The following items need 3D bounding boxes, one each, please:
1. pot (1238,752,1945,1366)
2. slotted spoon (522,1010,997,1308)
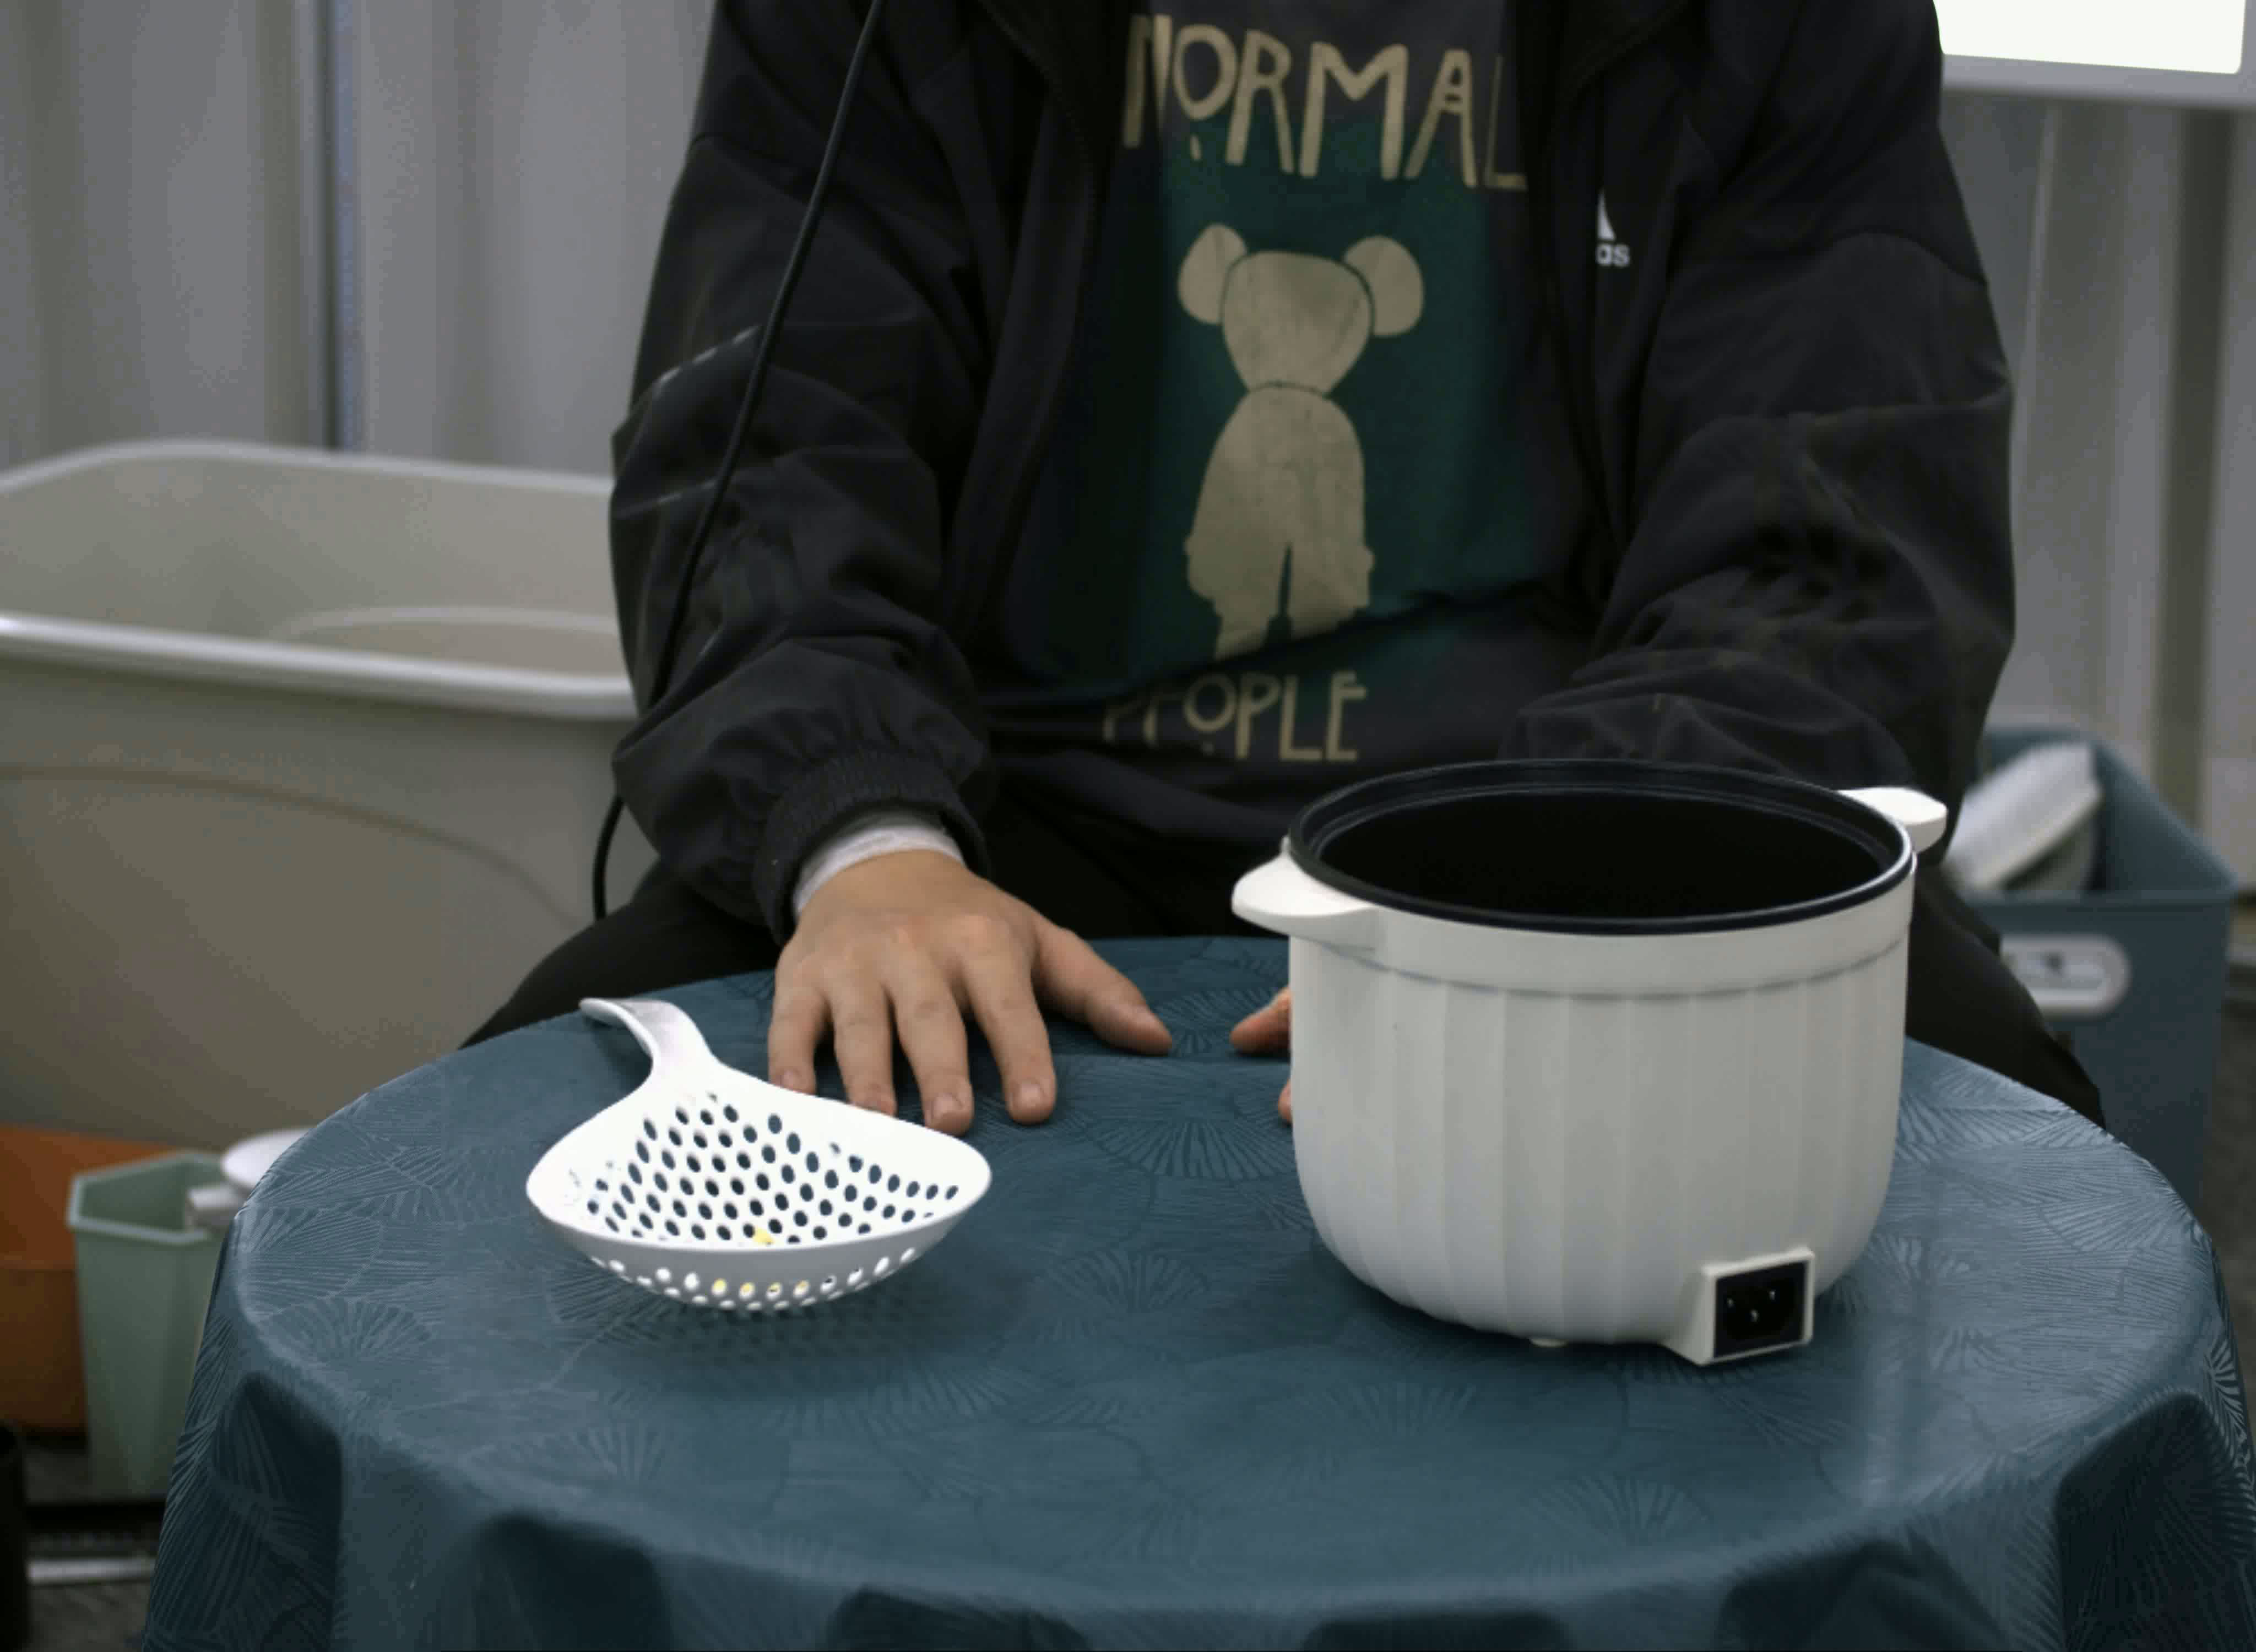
[{"bbox_3d":[0.132,0.065,1.540,0.241,0.144,0.188,-7,20,-30],"label":"pot"},{"bbox_3d":[-0.134,0.088,1.627,0.137,0.051,0.344,-5,17,-14],"label":"slotted spoon"}]
